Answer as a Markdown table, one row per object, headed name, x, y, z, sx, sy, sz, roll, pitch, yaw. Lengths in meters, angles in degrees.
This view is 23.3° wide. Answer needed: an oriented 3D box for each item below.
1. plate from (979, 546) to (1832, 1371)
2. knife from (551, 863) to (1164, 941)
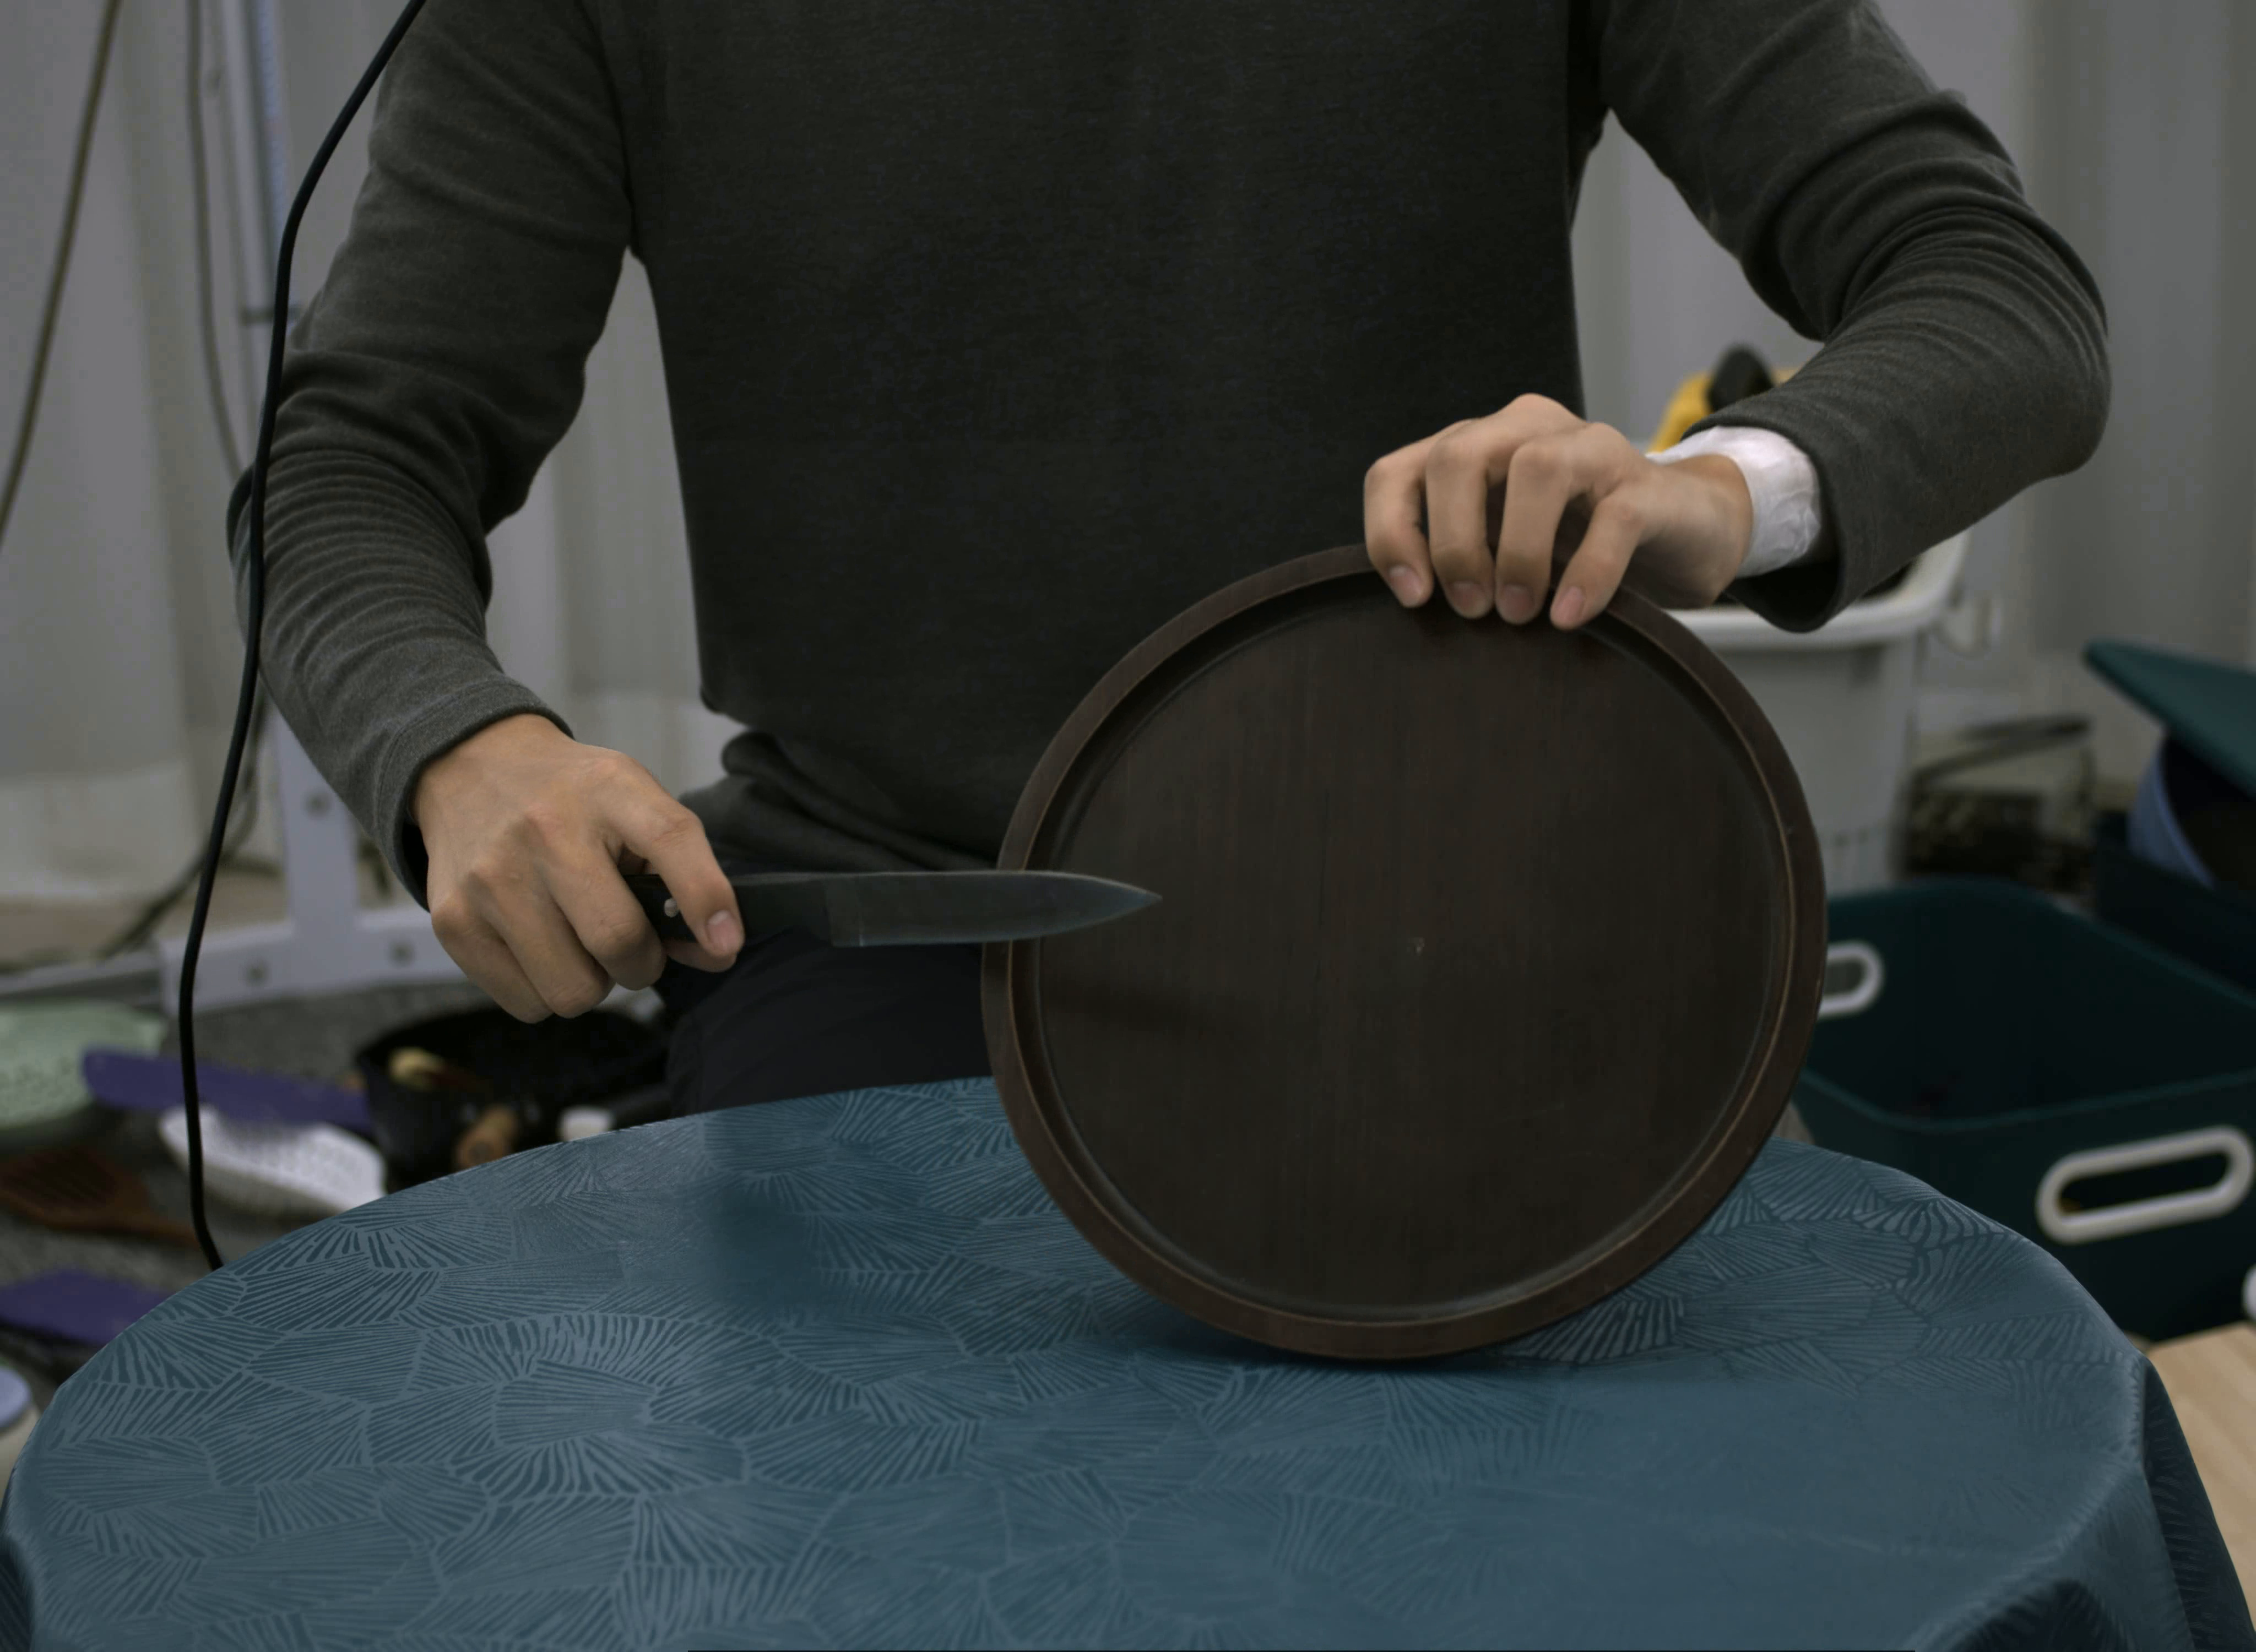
| name | x | y | z | sx | sy | sz | roll | pitch | yaw |
| --- | --- | --- | --- | --- | --- | --- | --- | --- | --- |
| plate | 0.080 | 0.037 | 1.599 | 0.254 | 0.257 | 0.029 | 1 | -19 | 15 |
| knife | -0.084 | 0.023 | 1.635 | 0.238 | 0.024 | 0.016 | -1 | 11 | 38 |
